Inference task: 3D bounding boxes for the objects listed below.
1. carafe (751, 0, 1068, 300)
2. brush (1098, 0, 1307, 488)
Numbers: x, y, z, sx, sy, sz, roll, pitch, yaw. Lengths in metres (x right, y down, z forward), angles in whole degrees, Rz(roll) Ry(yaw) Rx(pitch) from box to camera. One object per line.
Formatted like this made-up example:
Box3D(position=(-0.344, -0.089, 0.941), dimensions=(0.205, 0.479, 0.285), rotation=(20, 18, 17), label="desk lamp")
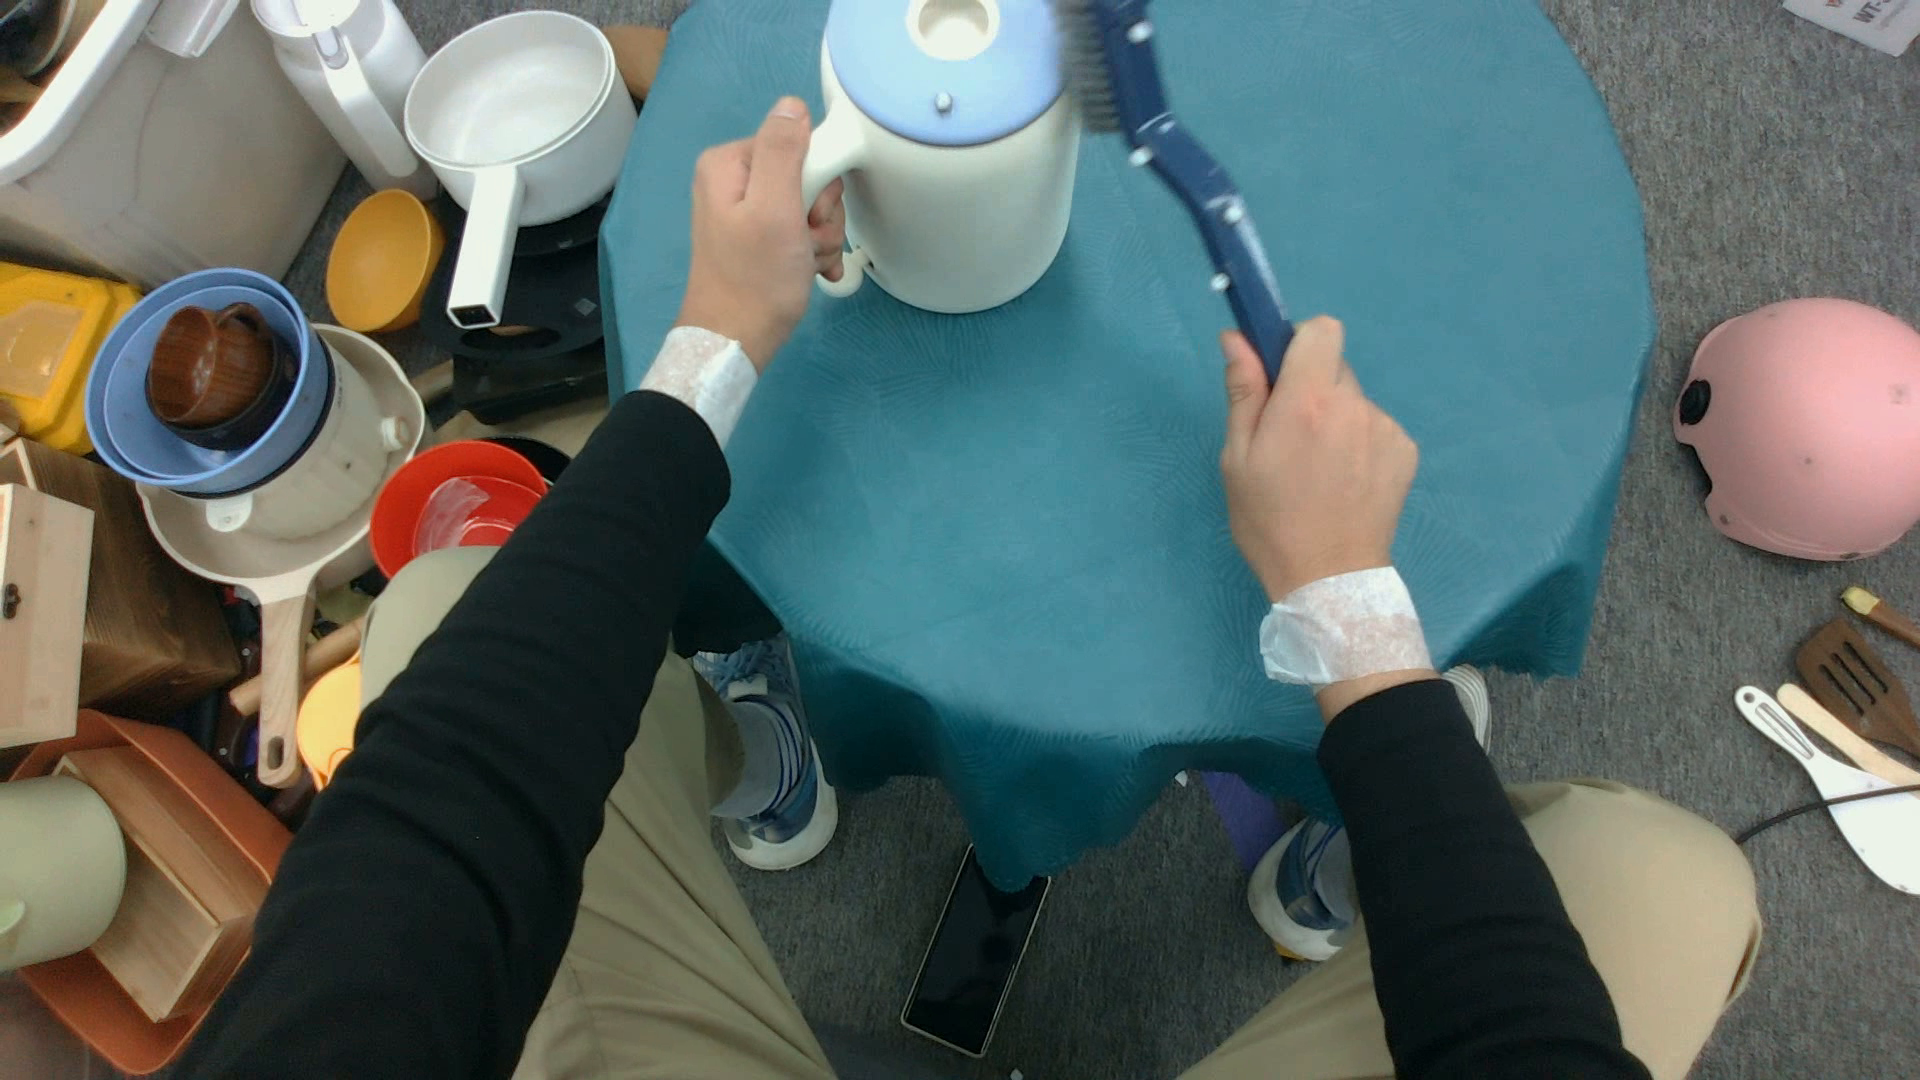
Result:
Box3D(position=(-0.032, -0.205, 0.719), dimensions=(0.191, 0.182, 0.132), rotation=(-39, 77, -10), label="carafe")
Box3D(position=(0.126, -0.154, 0.641), dimensions=(0.033, 0.095, 0.273), rotation=(-35, 106, -32), label="brush")
